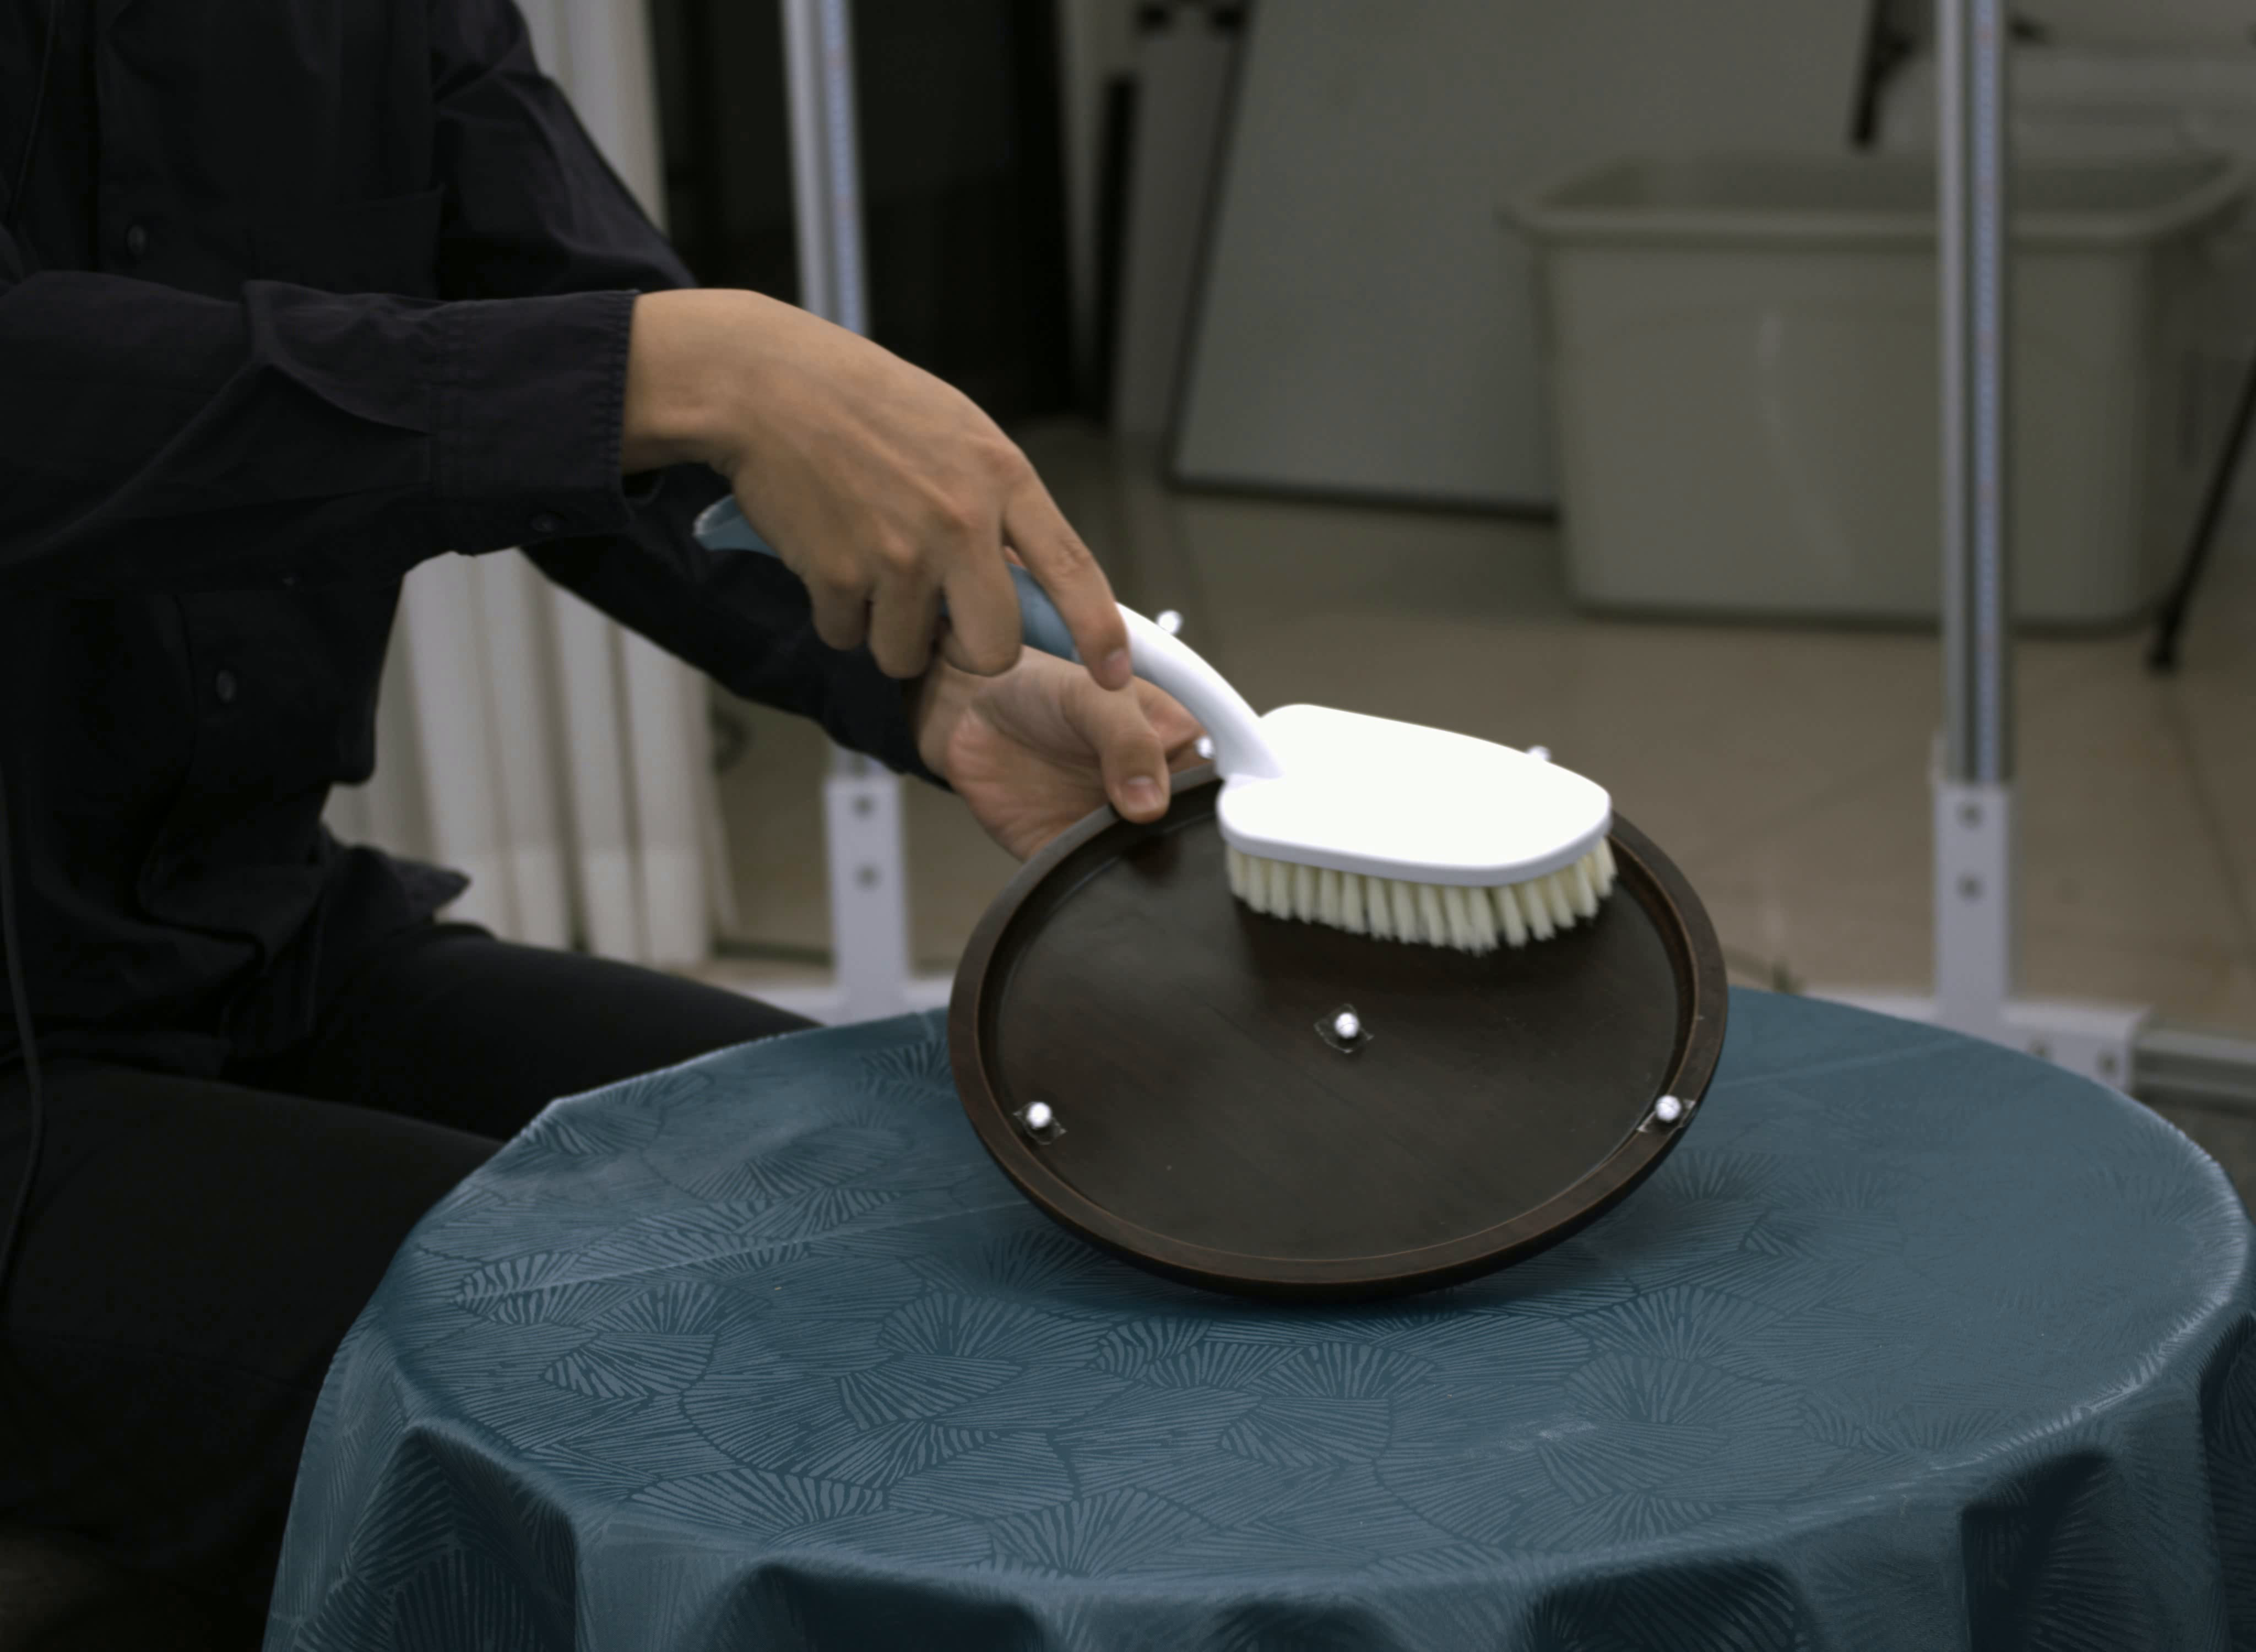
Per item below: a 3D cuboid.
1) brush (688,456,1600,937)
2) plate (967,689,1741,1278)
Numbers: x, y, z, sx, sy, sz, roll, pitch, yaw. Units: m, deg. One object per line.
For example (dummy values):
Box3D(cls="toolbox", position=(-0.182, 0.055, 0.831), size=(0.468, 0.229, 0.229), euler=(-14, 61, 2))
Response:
Box3D(cls="brush", position=(0.003, -0.036, 1.787), size=(0.324, 0.085, 0.082), euler=(20, 10, 10))
Box3D(cls="plate", position=(0.072, 0.052, 1.742), size=(0.252, 0.029, 0.257), euler=(-6, 43, 5))
